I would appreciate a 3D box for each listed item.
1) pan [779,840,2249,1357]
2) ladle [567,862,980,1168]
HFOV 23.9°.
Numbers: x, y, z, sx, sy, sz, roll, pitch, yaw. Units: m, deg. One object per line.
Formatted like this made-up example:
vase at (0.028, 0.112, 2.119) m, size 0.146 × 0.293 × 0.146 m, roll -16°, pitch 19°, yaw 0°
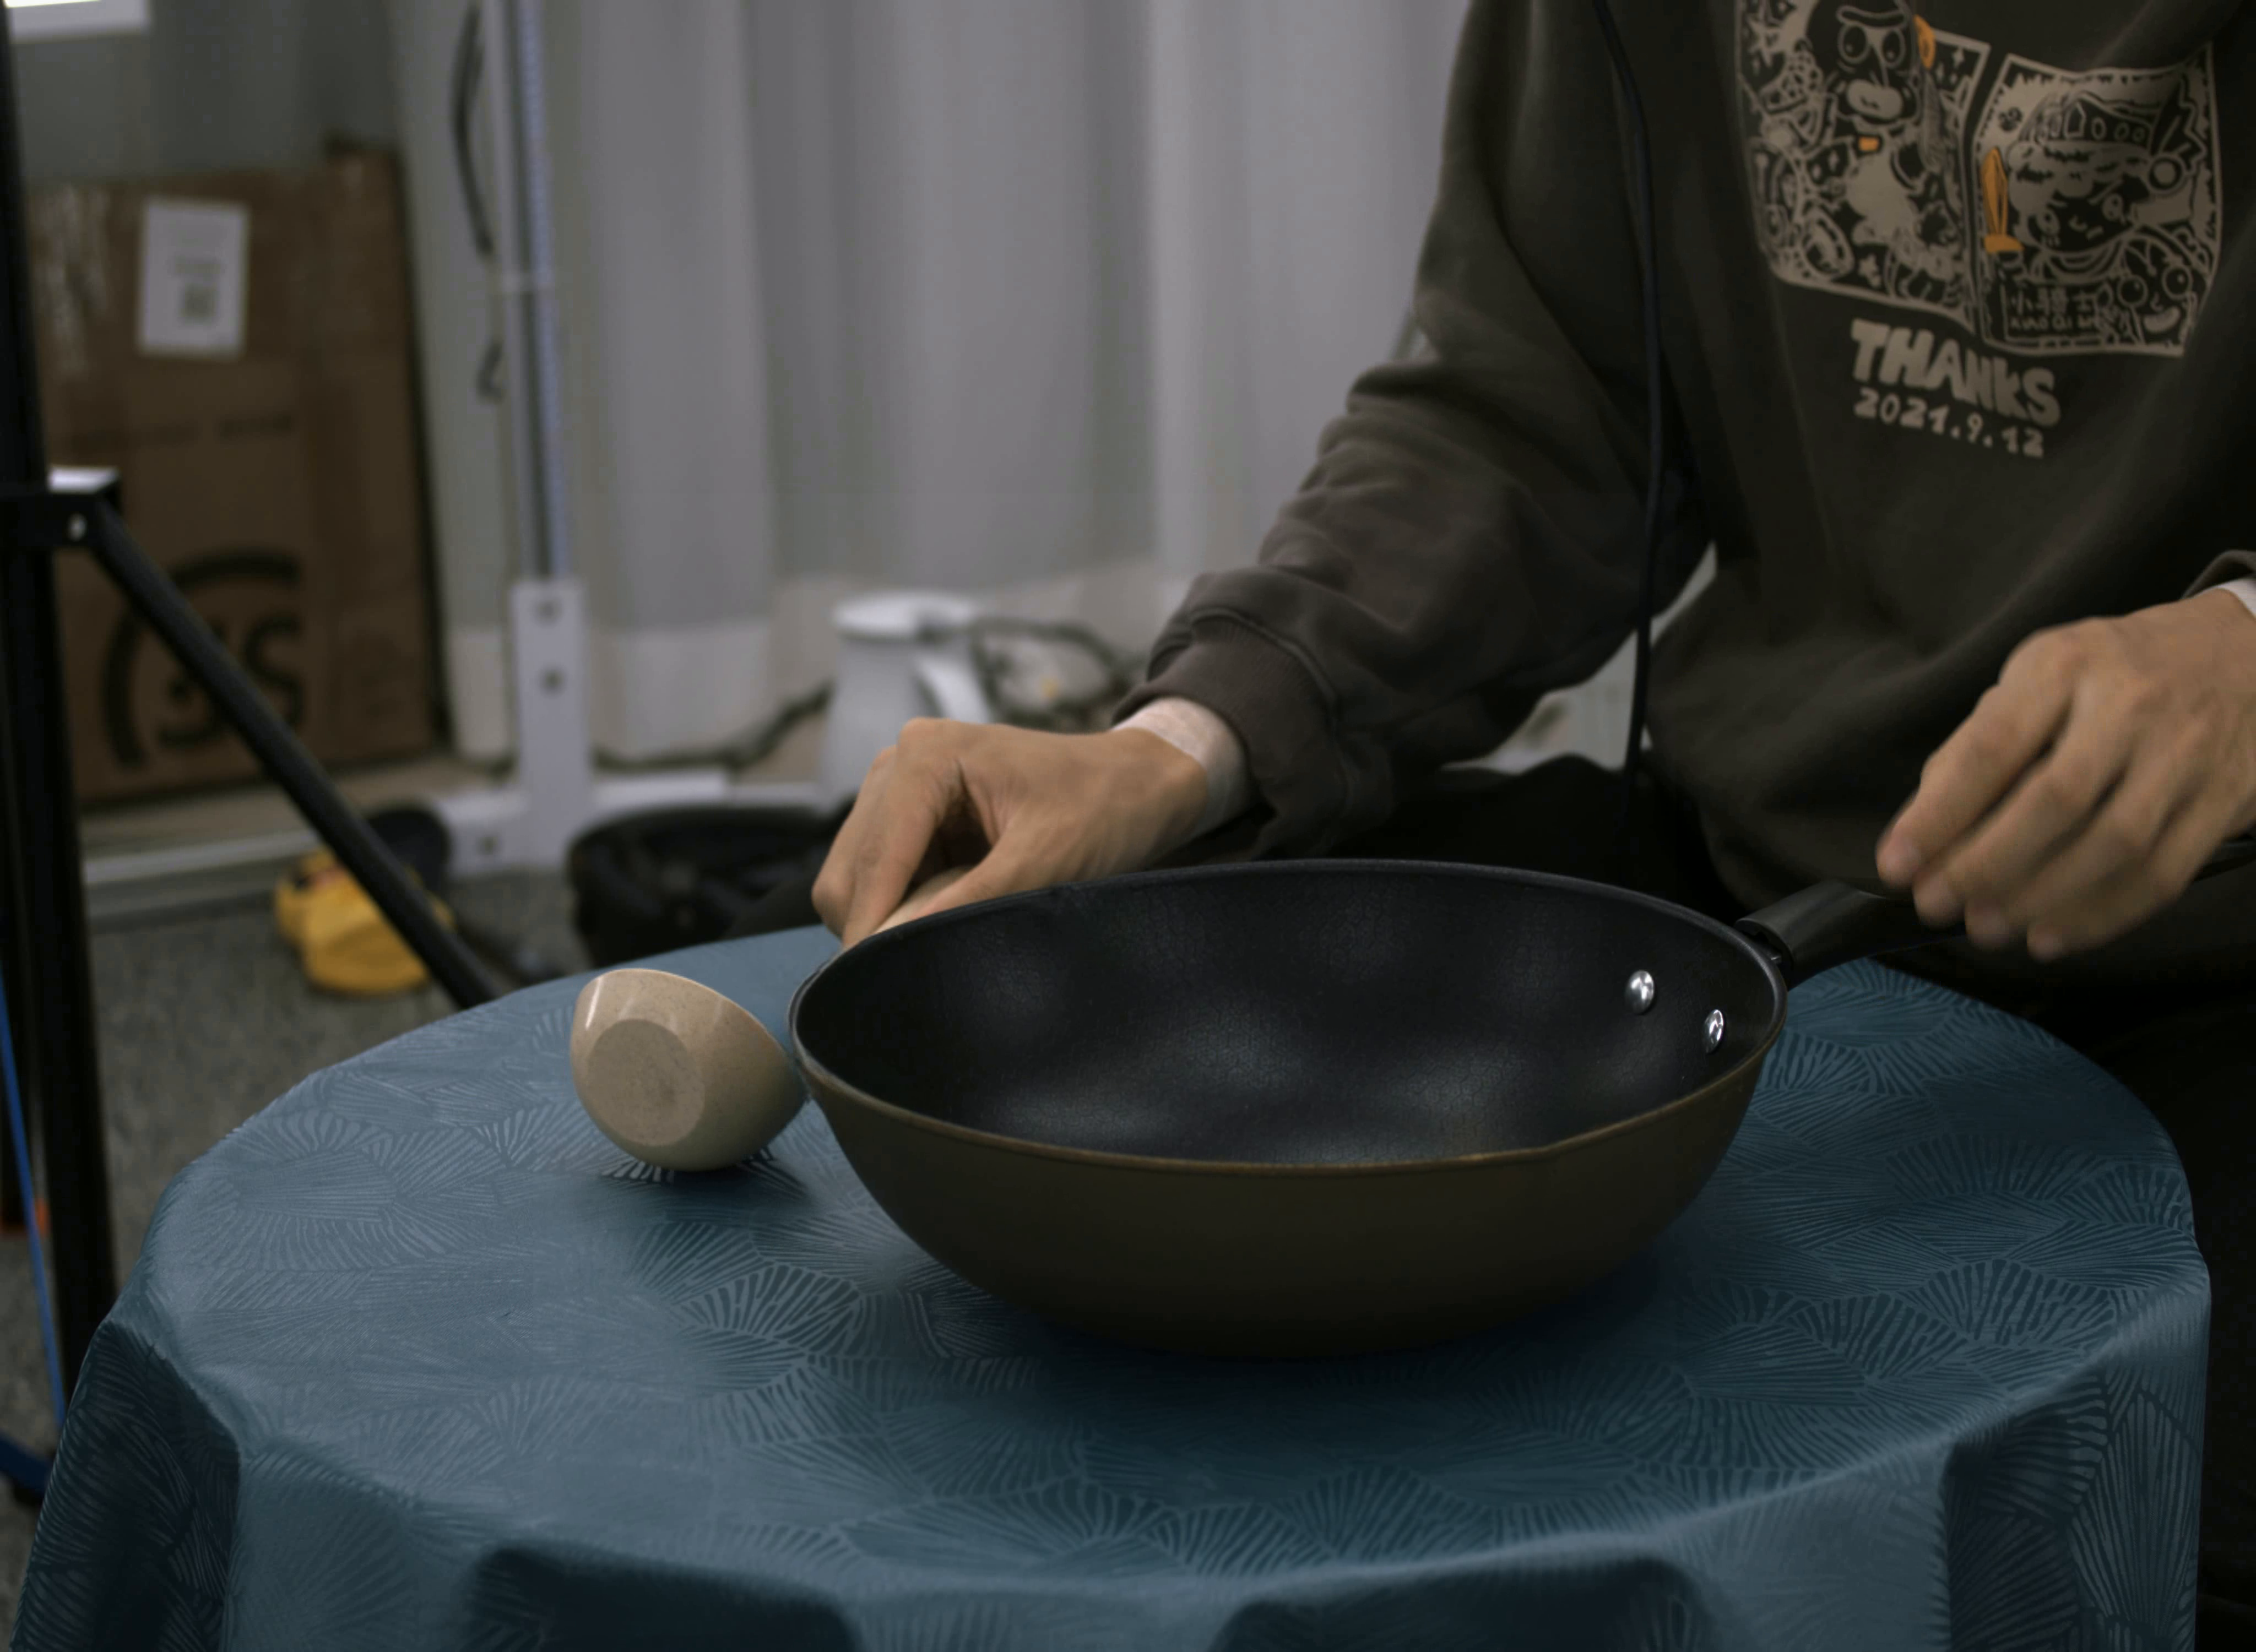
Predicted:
pan at (0.124, 0.071, 1.520) m, size 0.454 × 0.087 × 0.294 m, roll -8°, pitch 16°, yaw -23°
ladle at (-0.100, 0.030, 1.678) m, size 0.073 × 0.072 × 0.252 m, roll 3°, pitch 24°, yaw 20°
